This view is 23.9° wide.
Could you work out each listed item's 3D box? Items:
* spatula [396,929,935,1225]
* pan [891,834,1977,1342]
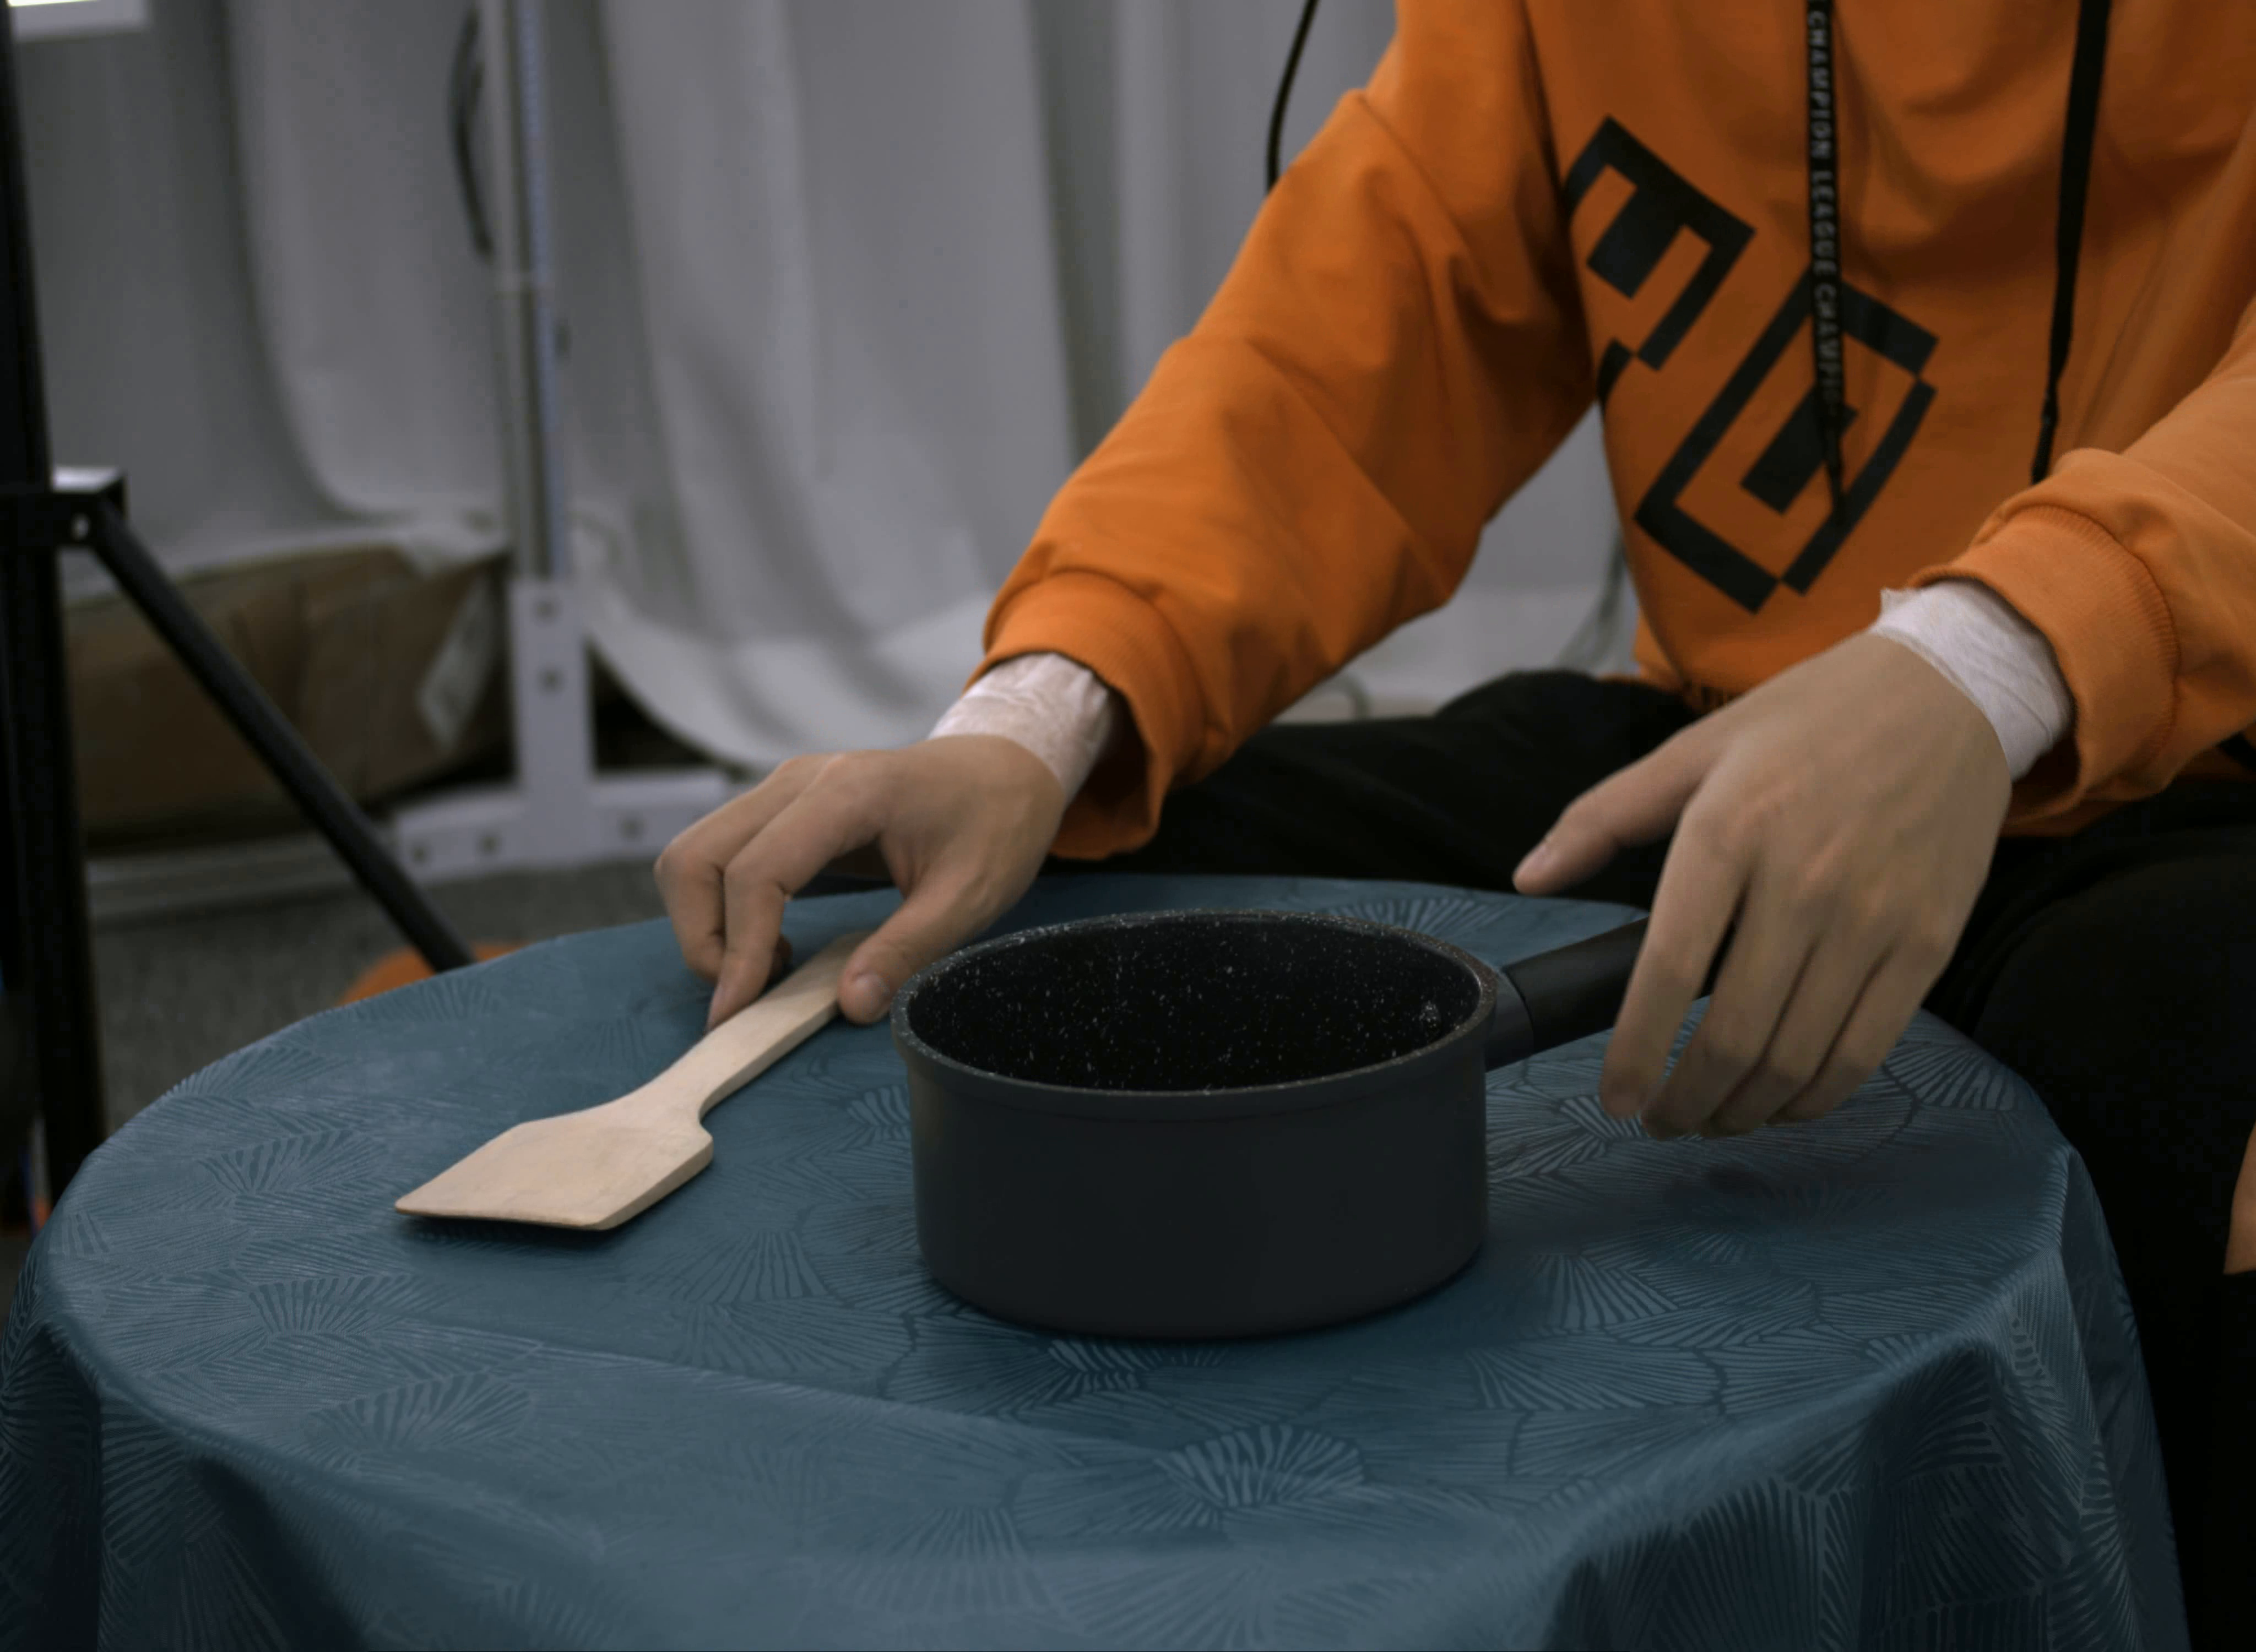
[{"bbox_3d":[-0.131,0.077,1.674,0.073,0.010,0.289,0,16,24],"label":"spatula"},{"bbox_3d":[0.094,0.070,1.523,0.323,0.086,0.175,-9,18,-17],"label":"pan"}]
